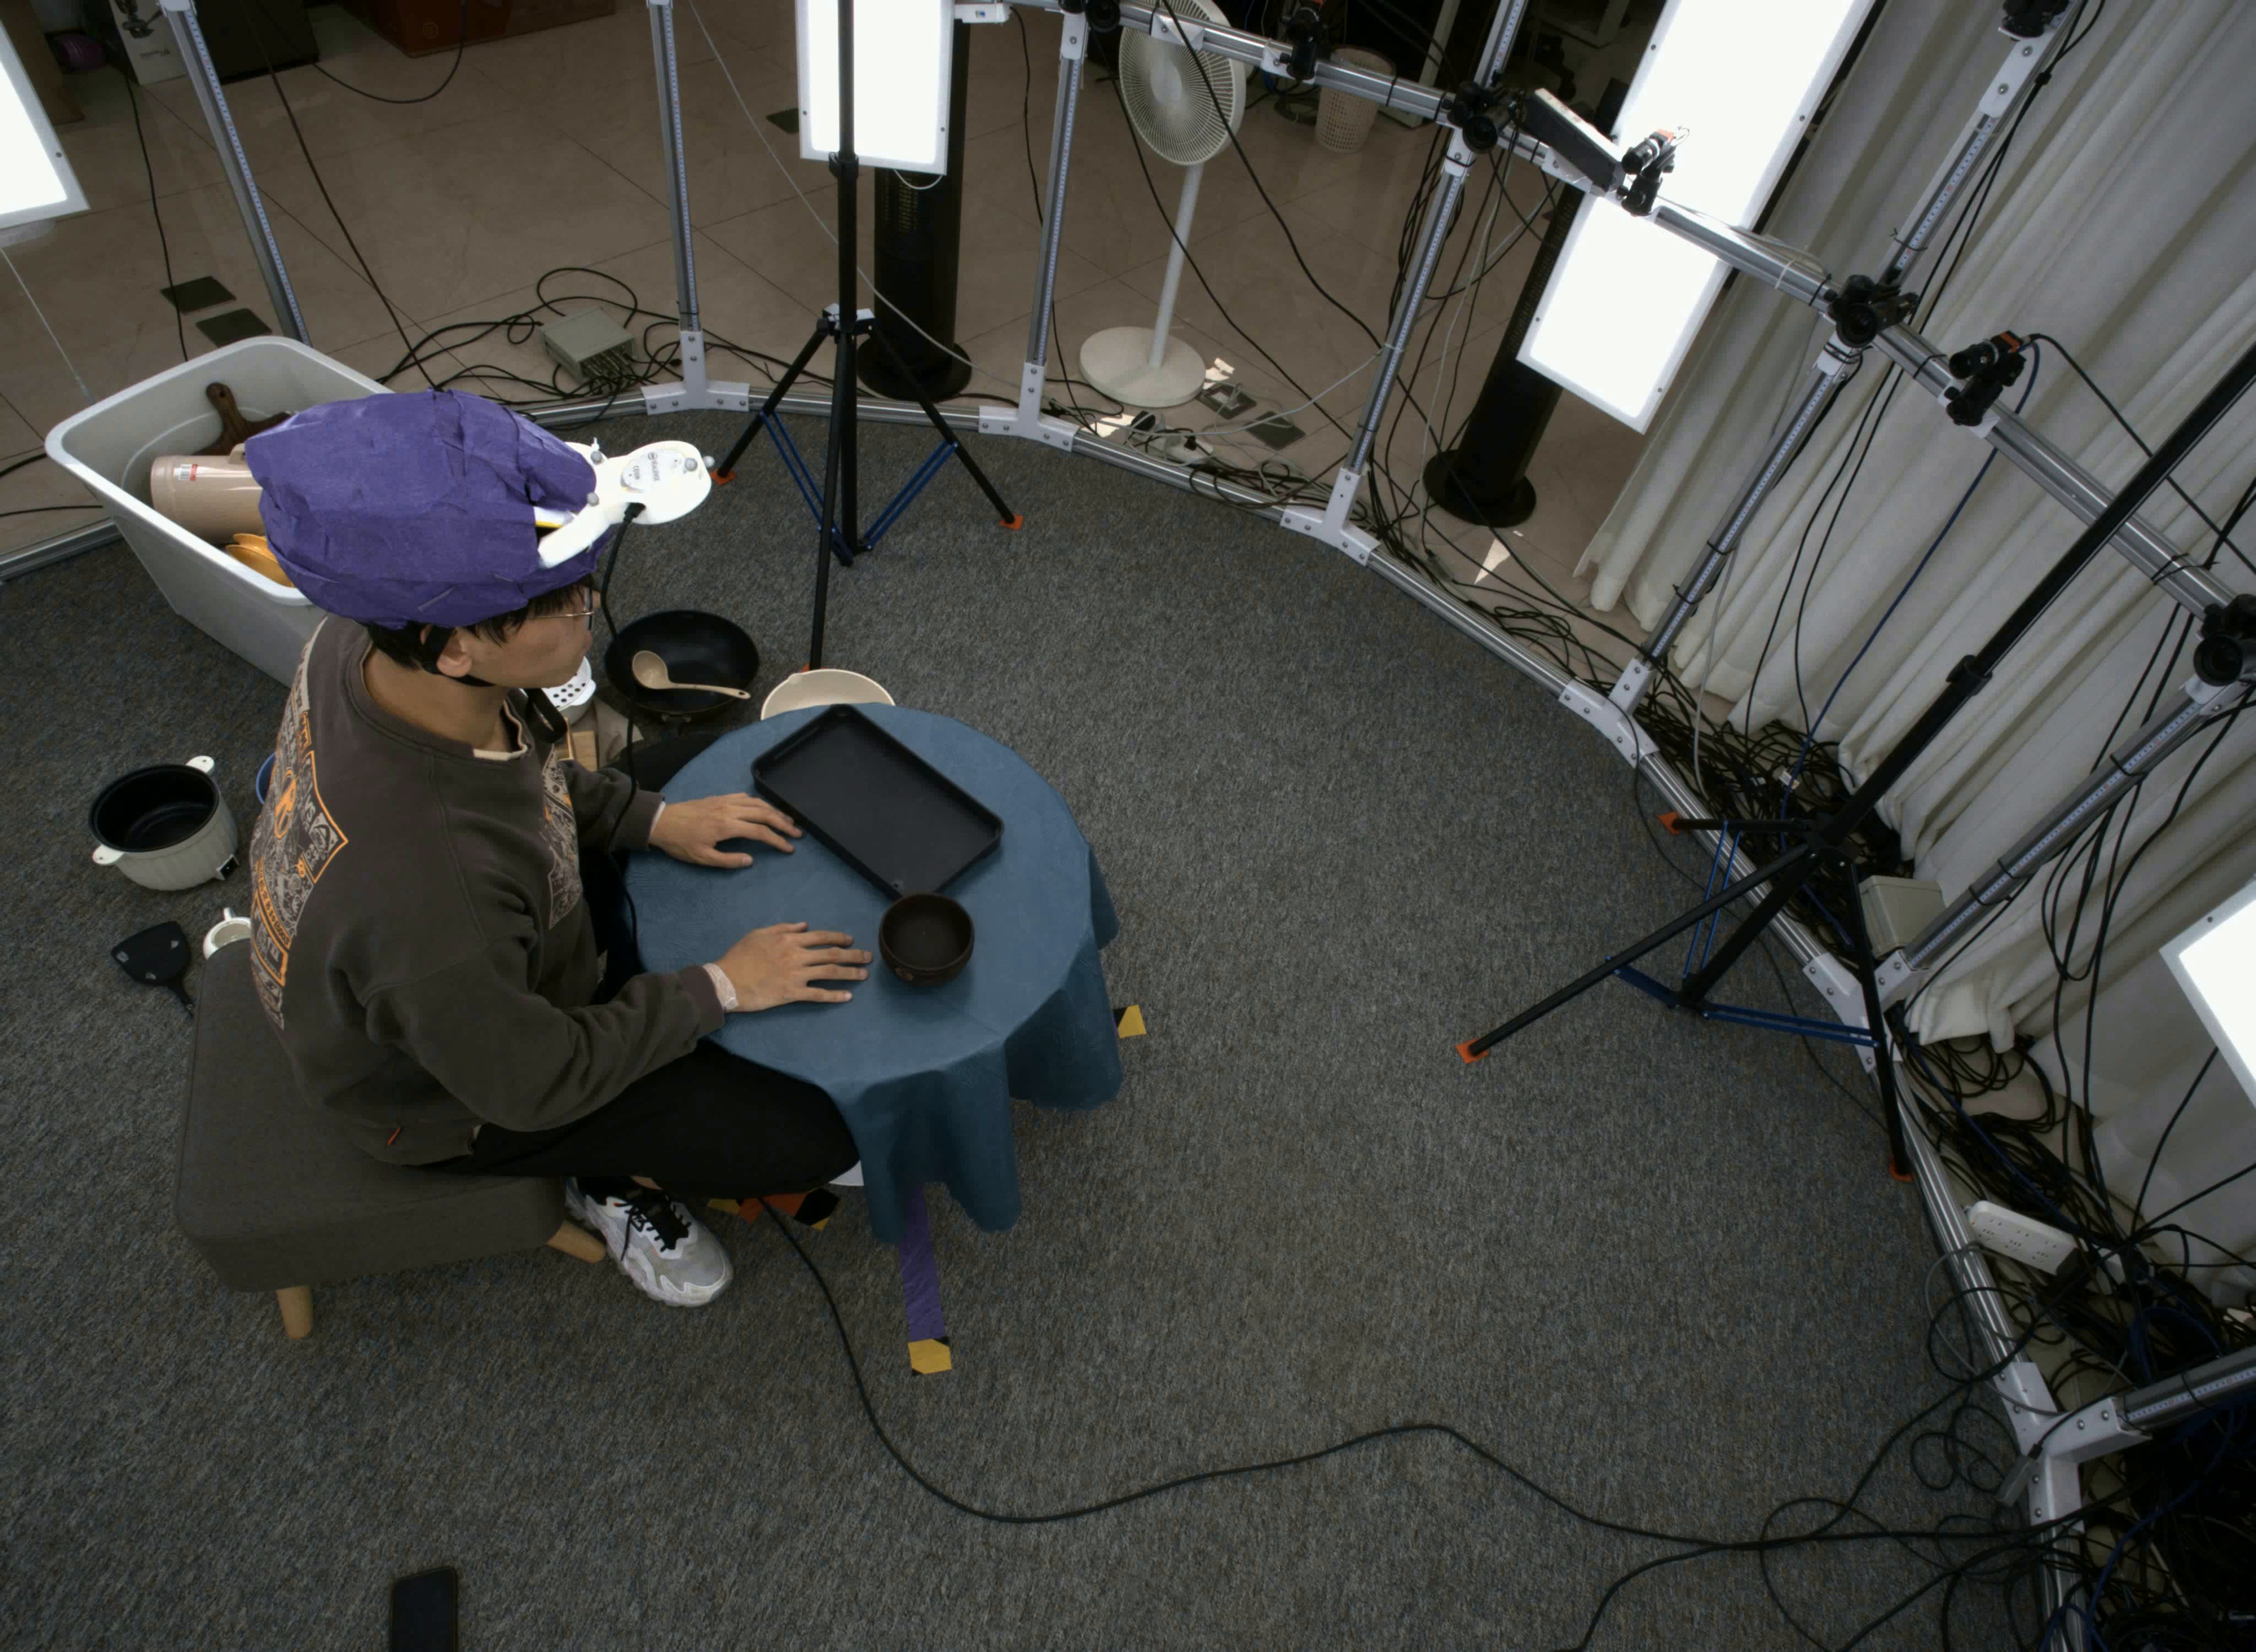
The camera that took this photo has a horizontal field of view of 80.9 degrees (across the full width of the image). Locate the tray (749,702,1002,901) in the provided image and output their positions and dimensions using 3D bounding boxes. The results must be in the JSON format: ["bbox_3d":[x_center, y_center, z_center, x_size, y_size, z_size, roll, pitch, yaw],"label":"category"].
[{"bbox_3d":[-0.341,-0.032,1.760,0.312,0.038,0.184,35,55,12],"label":"tray"}]

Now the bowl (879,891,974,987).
[{"bbox_3d":[-0.251,0.147,1.627,0.117,0.071,0.116,6,53,-6],"label":"bowl"}]
